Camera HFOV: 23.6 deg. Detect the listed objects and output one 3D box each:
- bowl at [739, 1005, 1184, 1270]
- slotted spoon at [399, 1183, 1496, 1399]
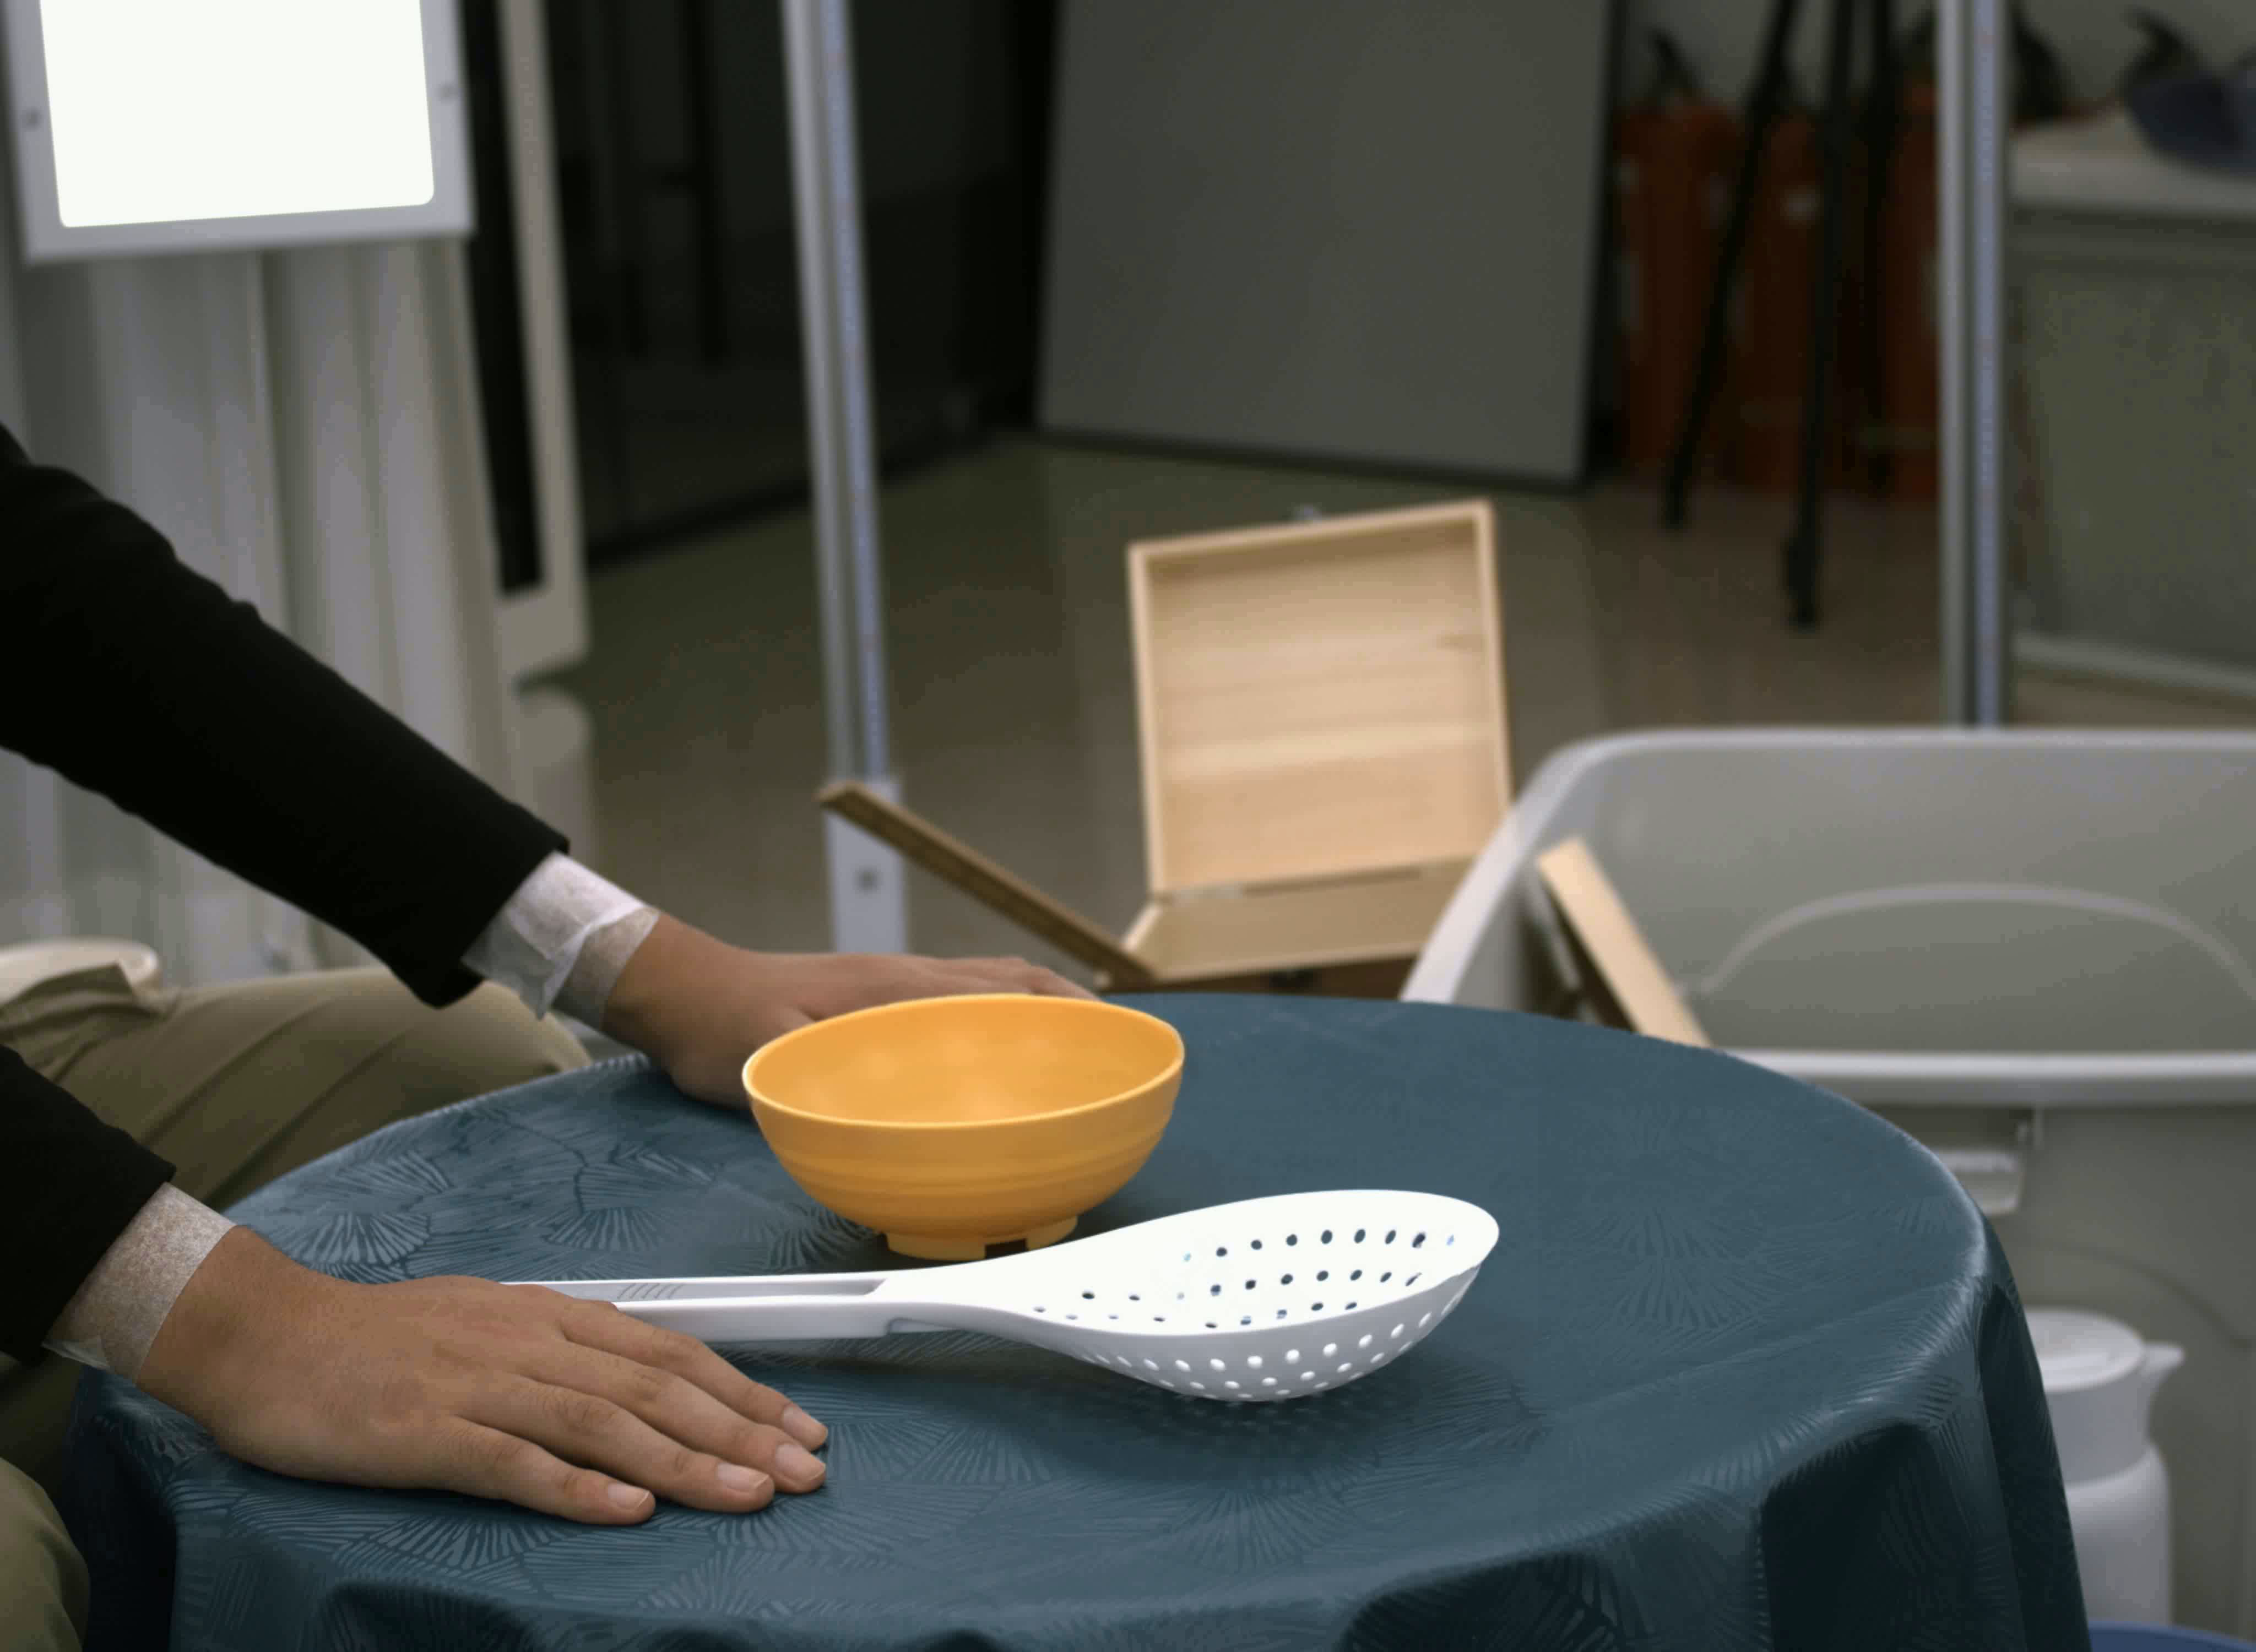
[{"bbox_3d":[-0.052,0.104,1.736,0.143,0.061,0.145,-2,13,0],"label":"bowl"},{"bbox_3d":[-0.058,0.141,1.609,0.349,0.046,0.135,0,13,19],"label":"slotted spoon"}]
